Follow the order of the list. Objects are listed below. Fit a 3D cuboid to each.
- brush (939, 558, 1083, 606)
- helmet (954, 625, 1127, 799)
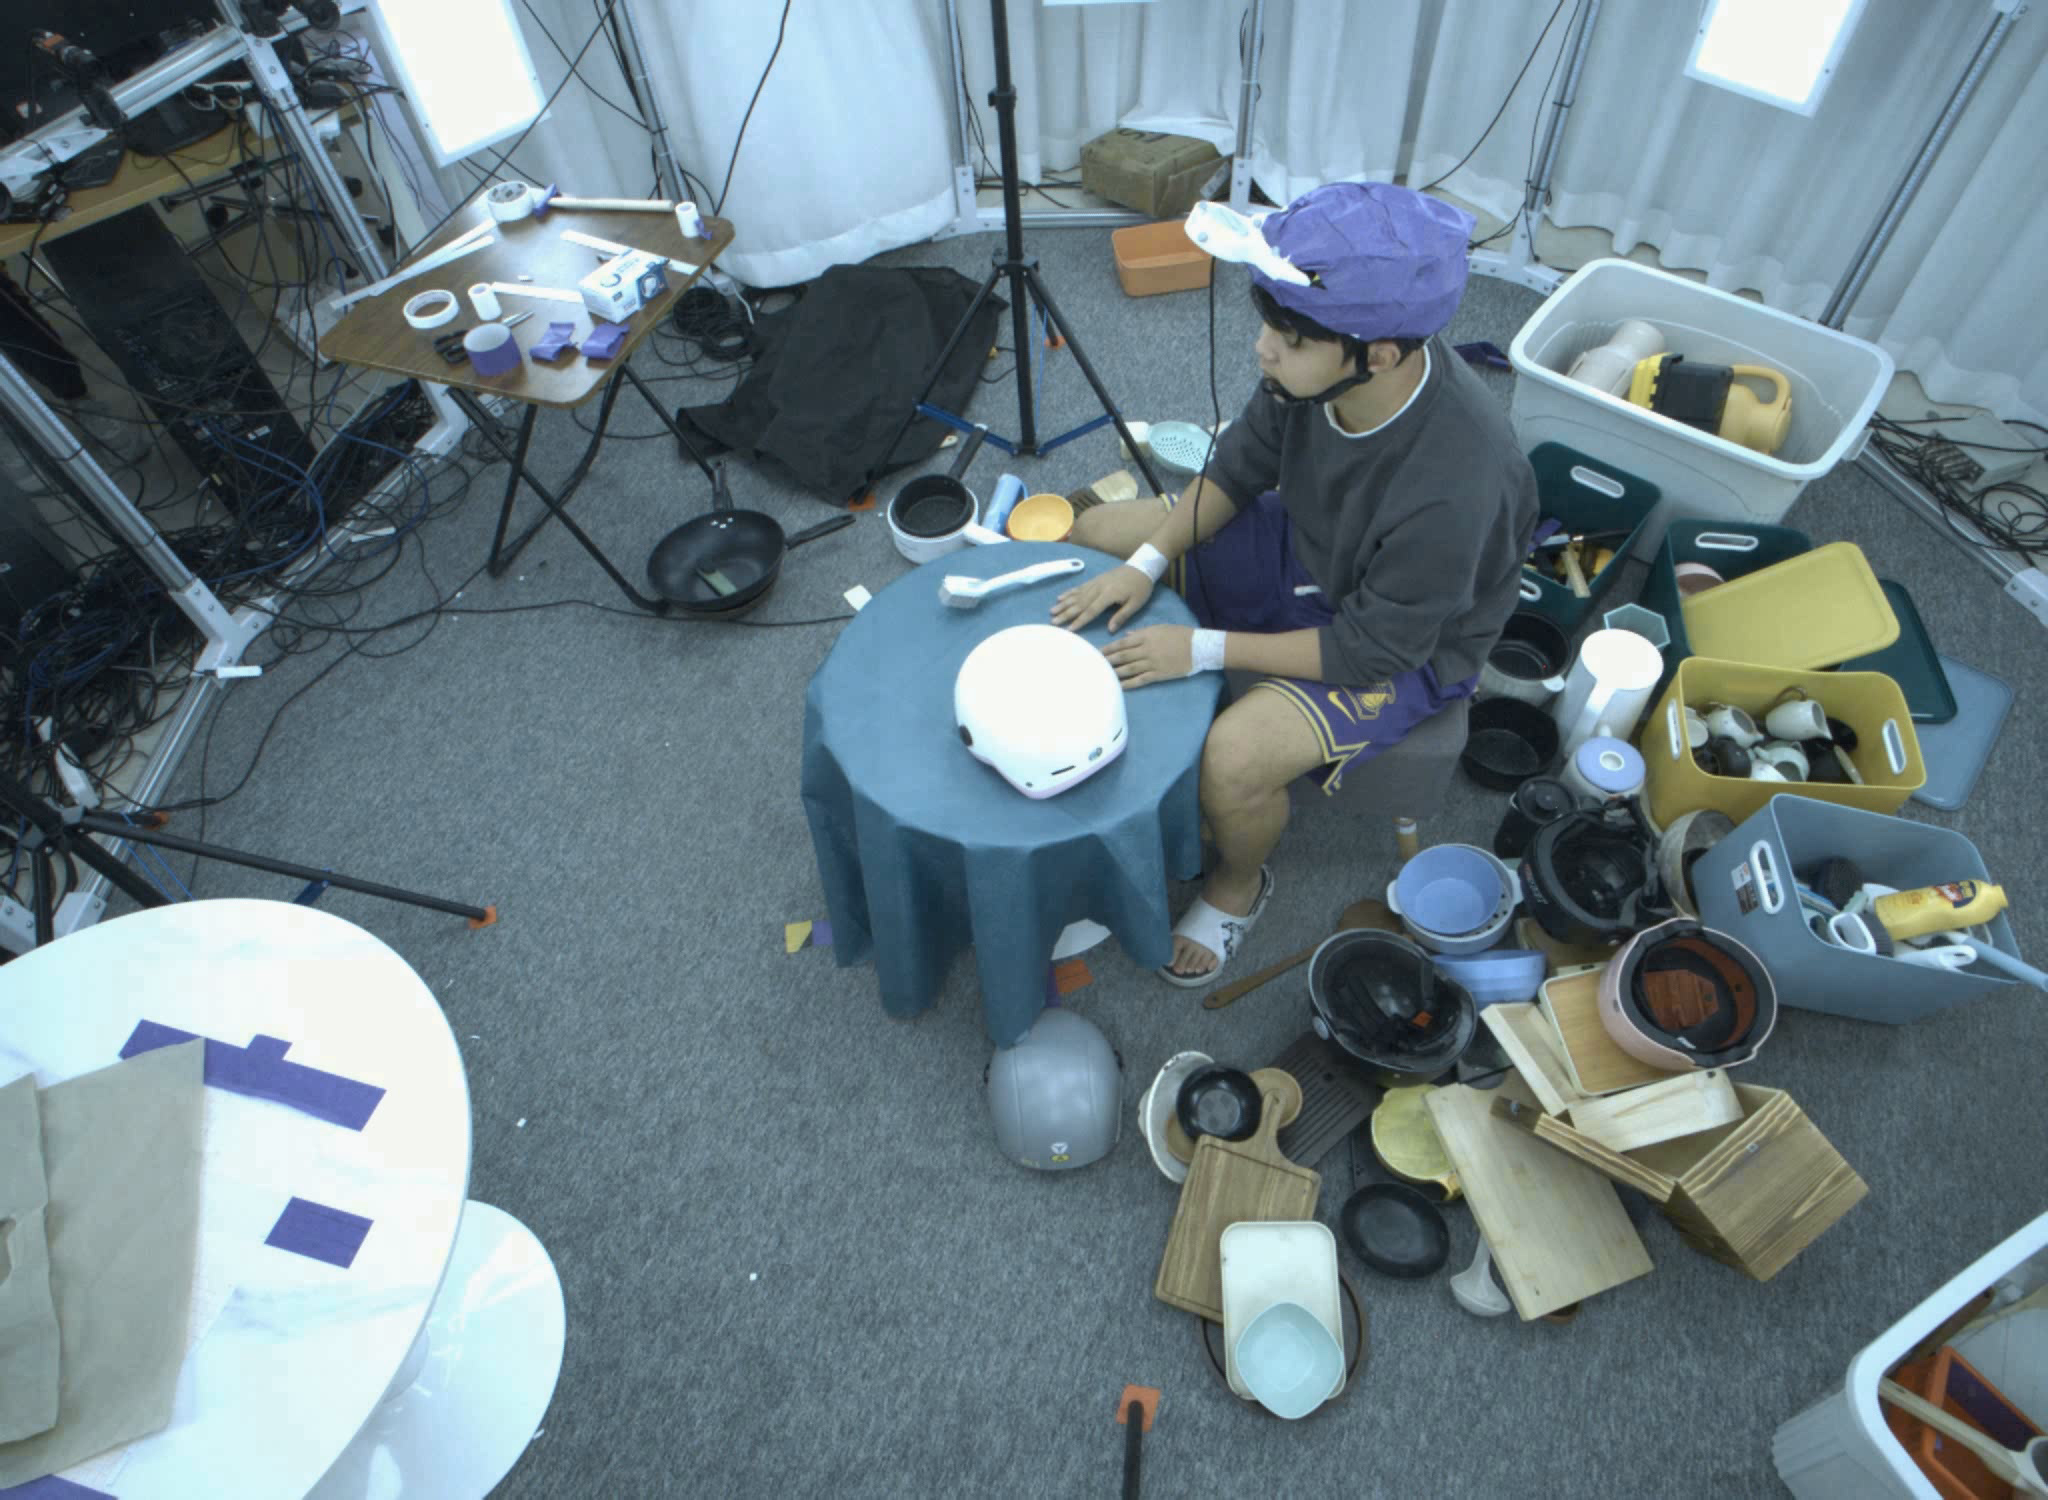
[{"bbox_3d":[-0.019,-0.269,1.968,0.247,0.050,0.034,-12,53,-23],"label":"brush"},{"bbox_3d":[0.017,-0.081,1.746,0.239,0.169,0.263,-32,59,-18],"label":"helmet"}]
